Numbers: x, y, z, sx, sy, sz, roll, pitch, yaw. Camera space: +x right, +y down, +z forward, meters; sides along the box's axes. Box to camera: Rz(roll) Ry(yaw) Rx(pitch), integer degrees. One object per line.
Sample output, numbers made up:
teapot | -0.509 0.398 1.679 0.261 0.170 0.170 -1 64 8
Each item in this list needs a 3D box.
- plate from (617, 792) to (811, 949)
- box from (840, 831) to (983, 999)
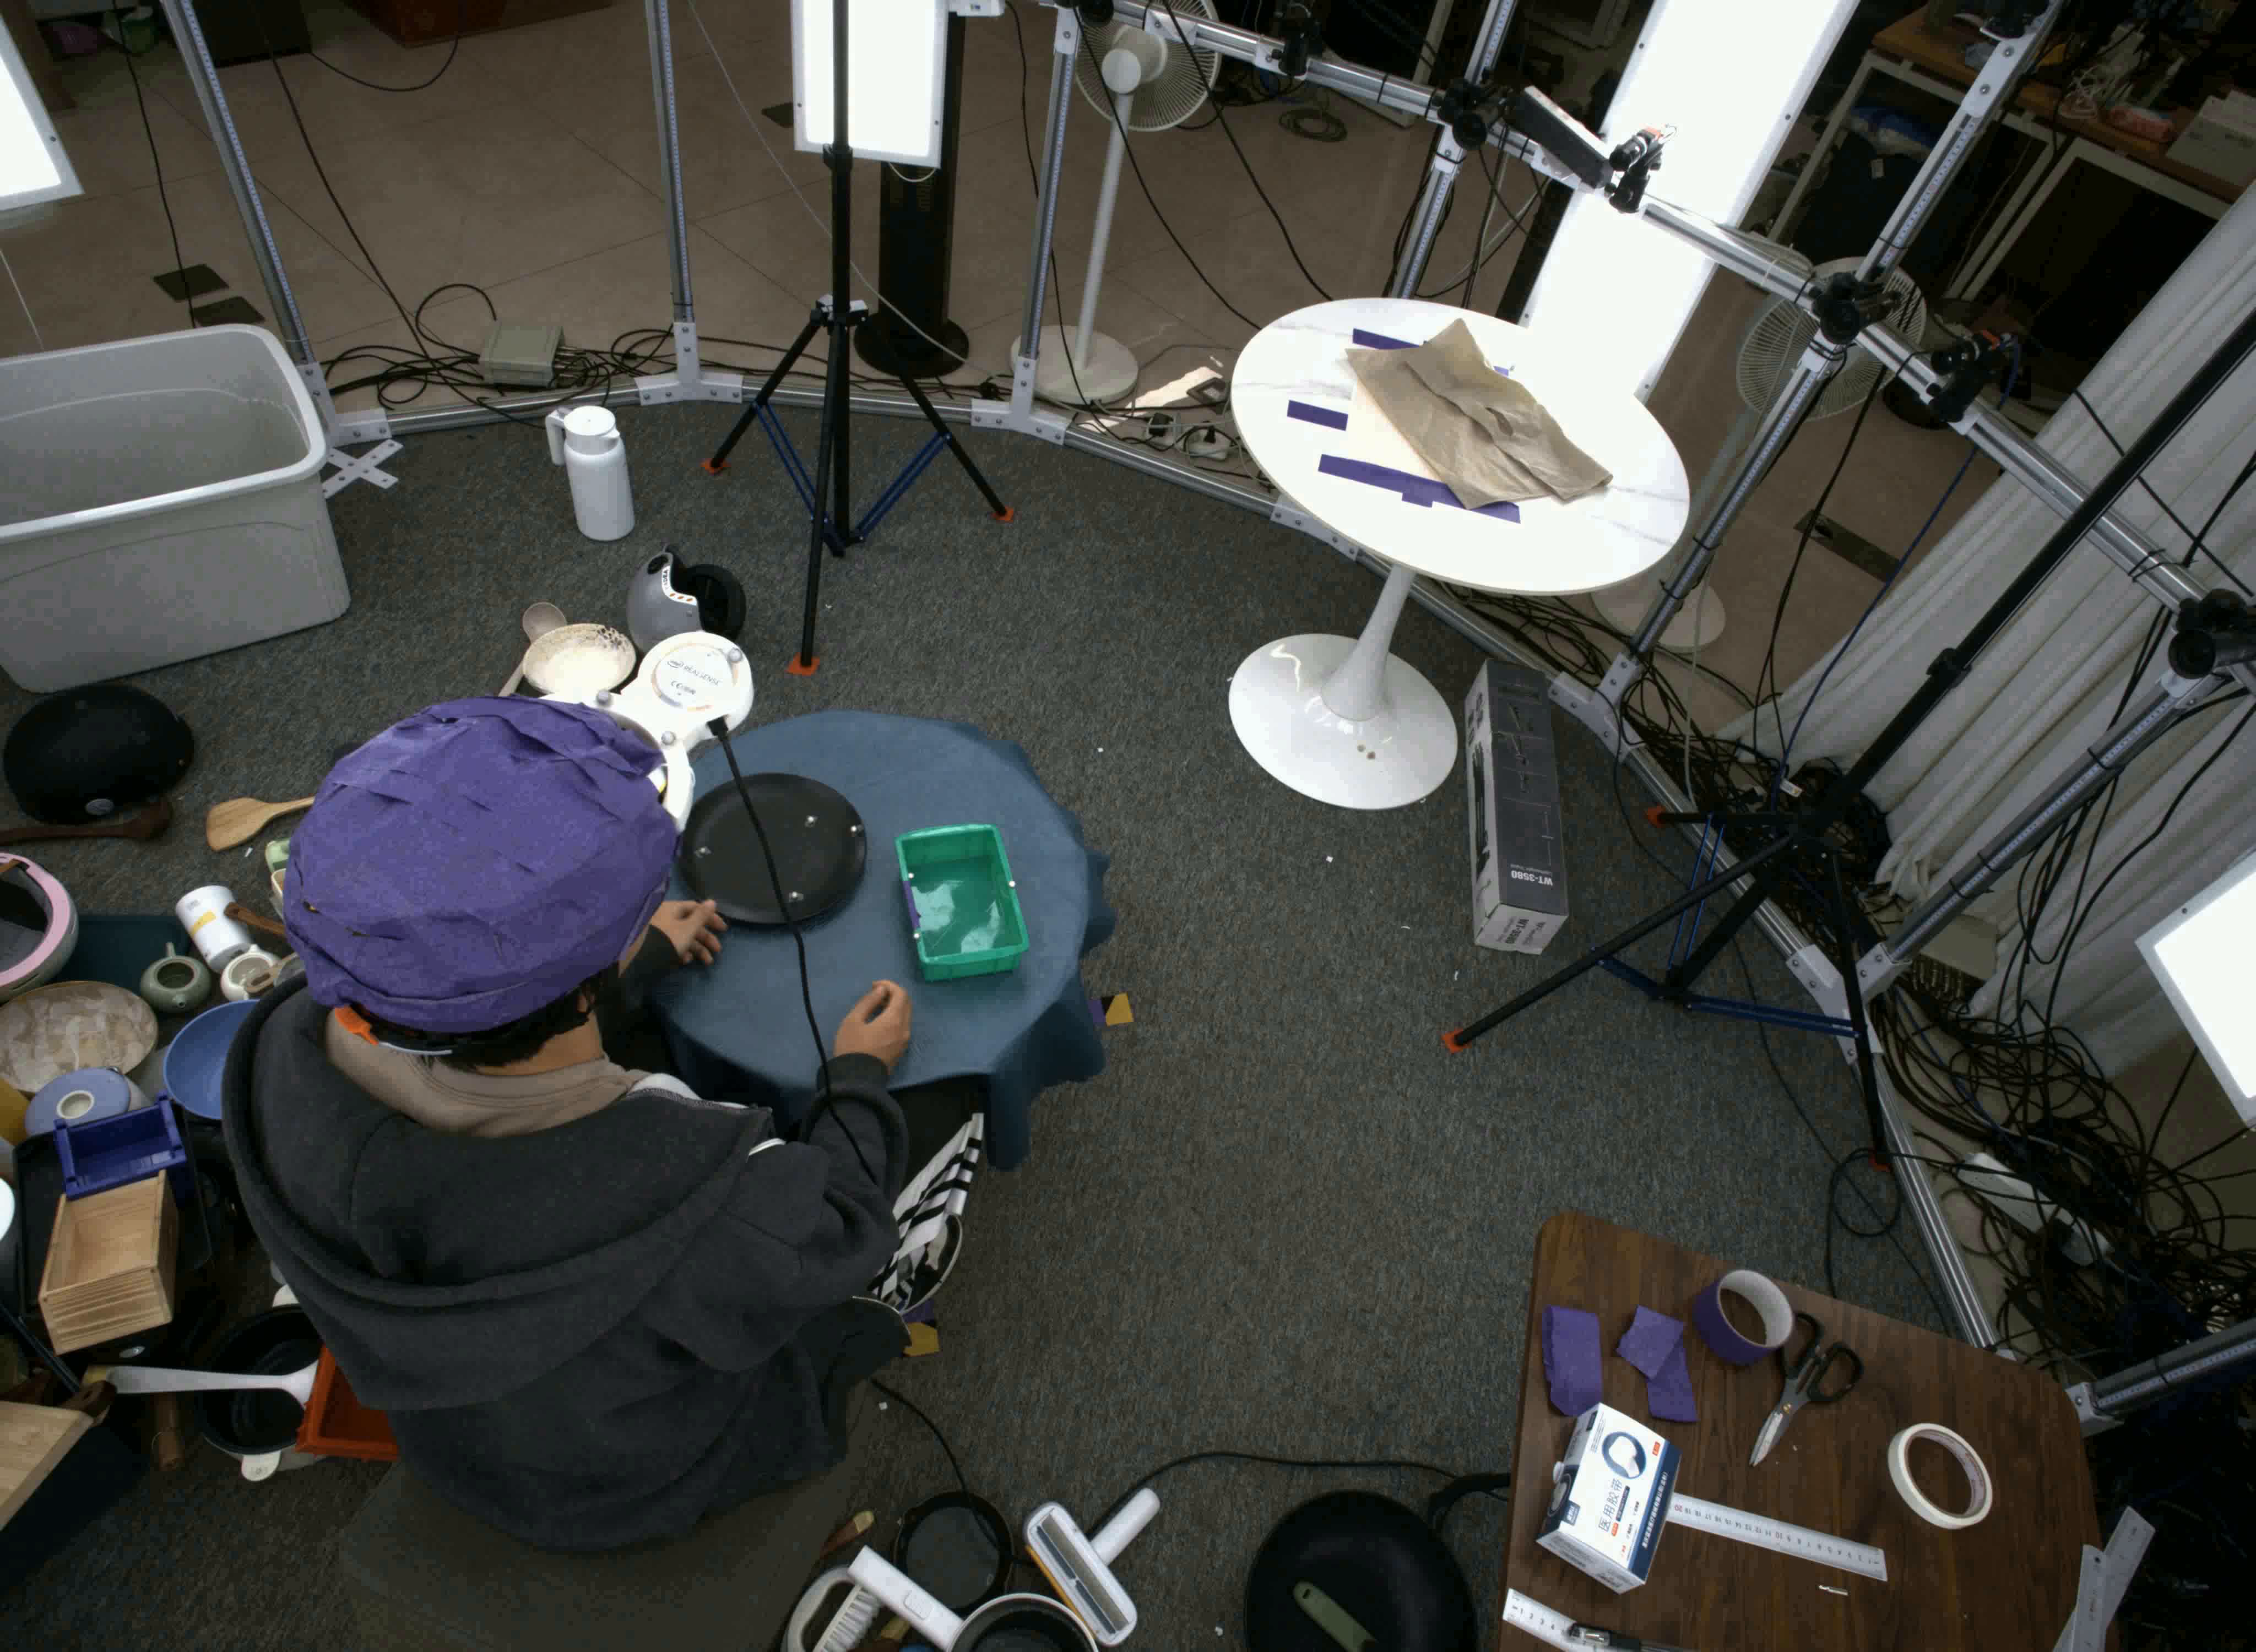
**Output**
plate | -0.527 0.056 1.645 0.244 0.024 0.240 8 52 -9
box | -0.276 0.113 1.642 0.139 0.066 0.205 -12 60 -20
